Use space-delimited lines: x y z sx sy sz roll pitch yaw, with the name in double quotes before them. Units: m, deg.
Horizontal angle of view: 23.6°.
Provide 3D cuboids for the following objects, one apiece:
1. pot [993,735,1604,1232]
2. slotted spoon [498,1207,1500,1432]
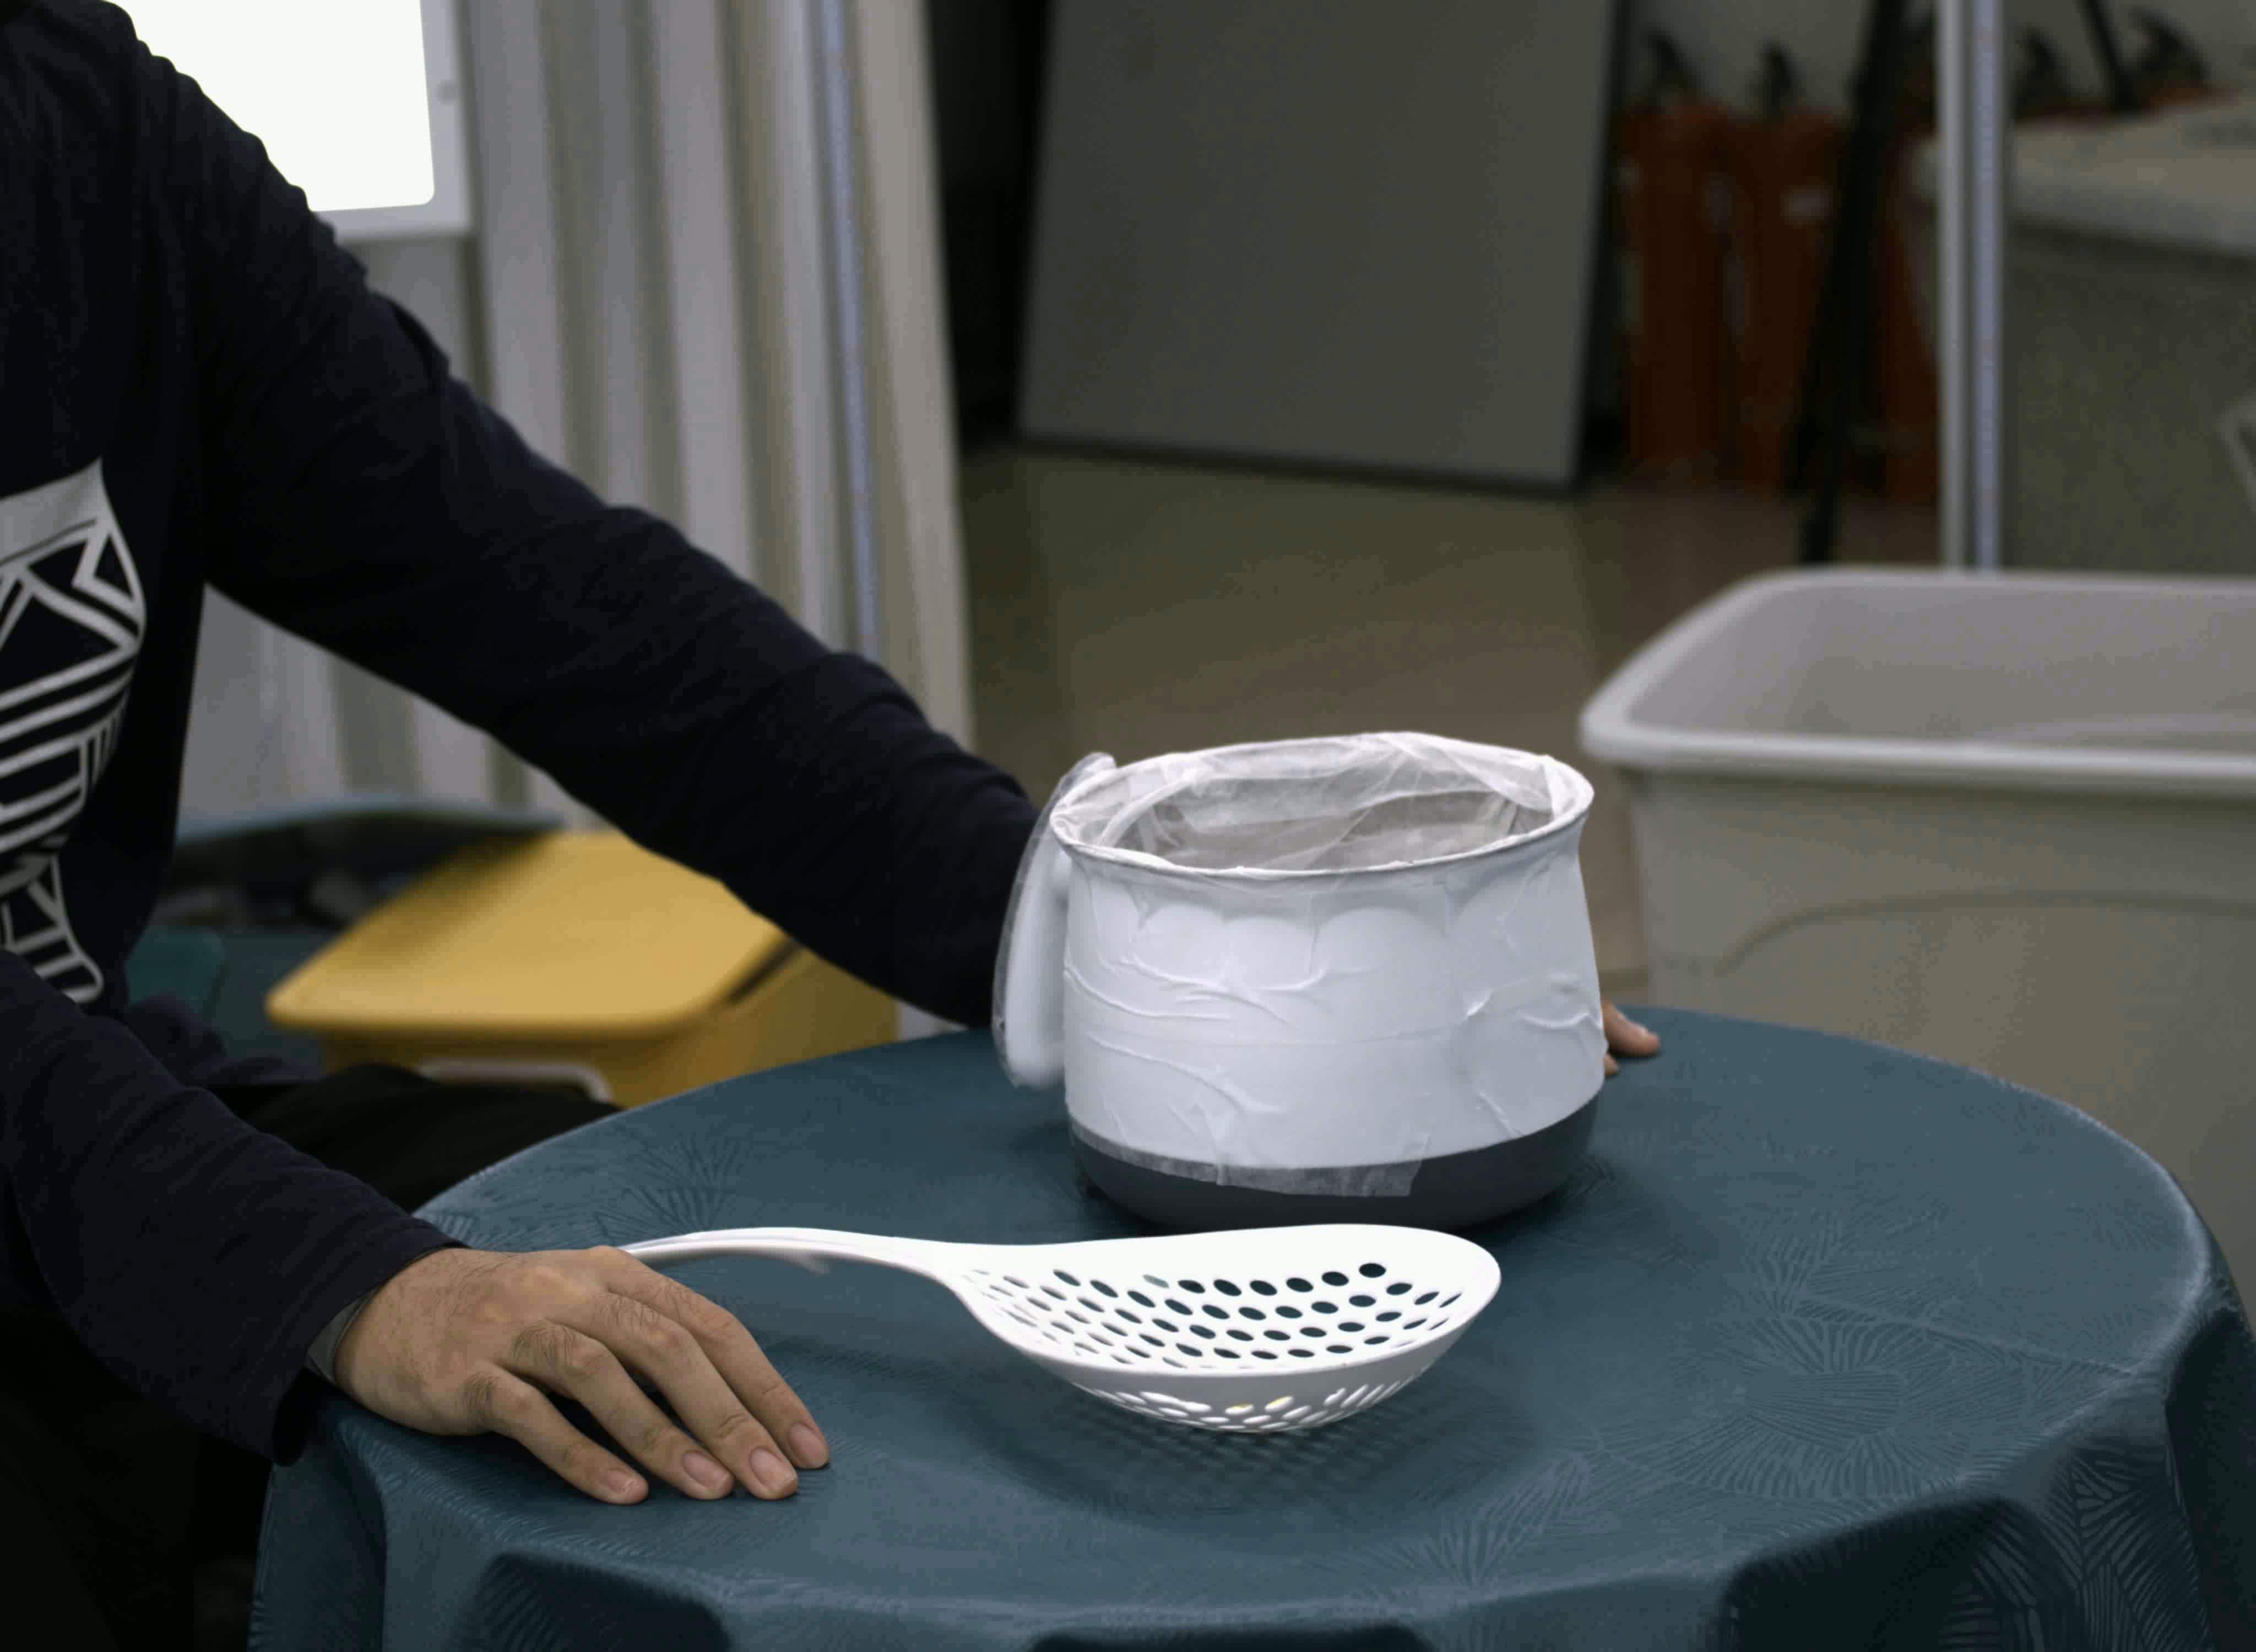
"pot" 0.045 0.048 1.764 0.236 0.138 0.175 9 16 41
"slotted spoon" -0.050 0.141 1.613 0.350 0.051 0.134 6 18 34
